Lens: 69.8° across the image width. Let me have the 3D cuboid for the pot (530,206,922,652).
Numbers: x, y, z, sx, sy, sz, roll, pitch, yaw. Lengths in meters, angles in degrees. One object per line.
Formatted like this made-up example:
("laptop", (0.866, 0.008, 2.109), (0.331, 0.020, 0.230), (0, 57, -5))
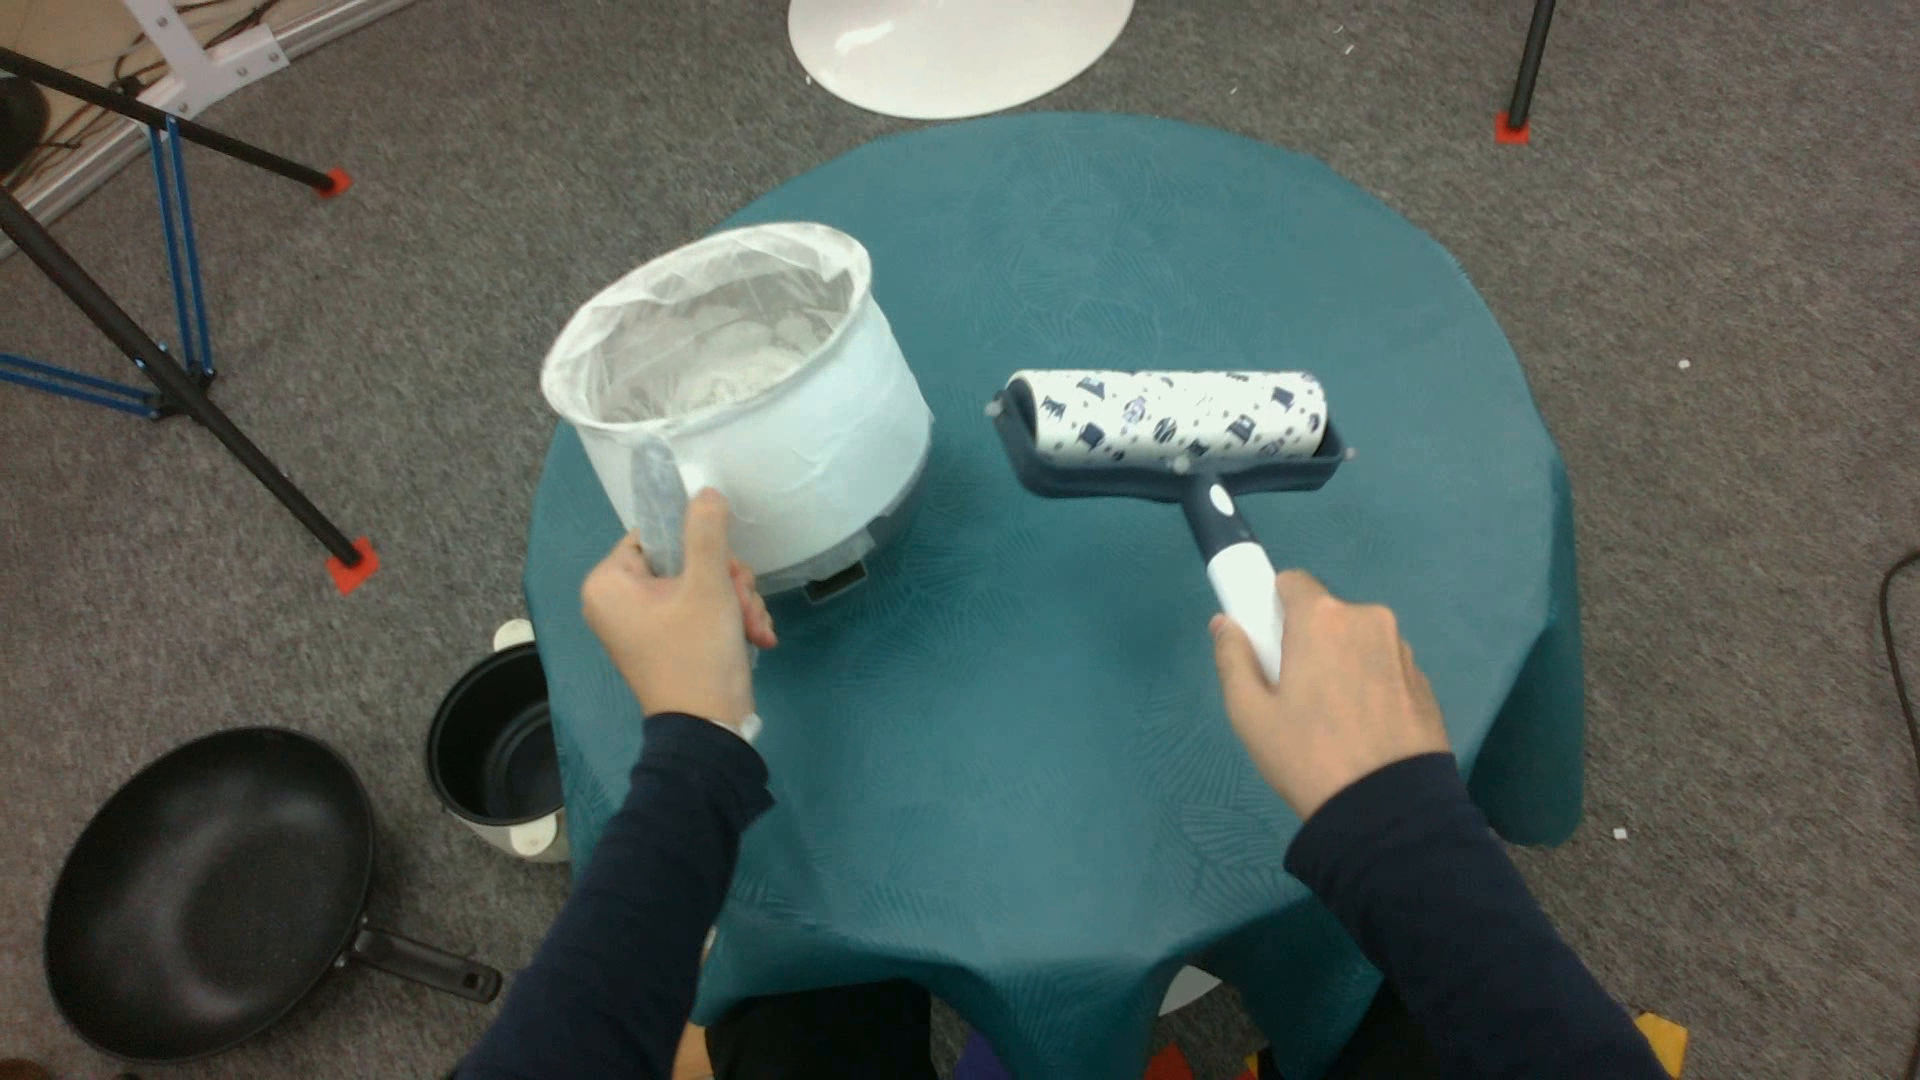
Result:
("pot", (-0.120, -0.058, 0.715), (0.178, 0.136, 0.235), (-10, 38, 16))

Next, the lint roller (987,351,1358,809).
("lint roller", (0.128, 0.006, 0.631), (0.176, 0.050, 0.248), (-3, 51, -23))
